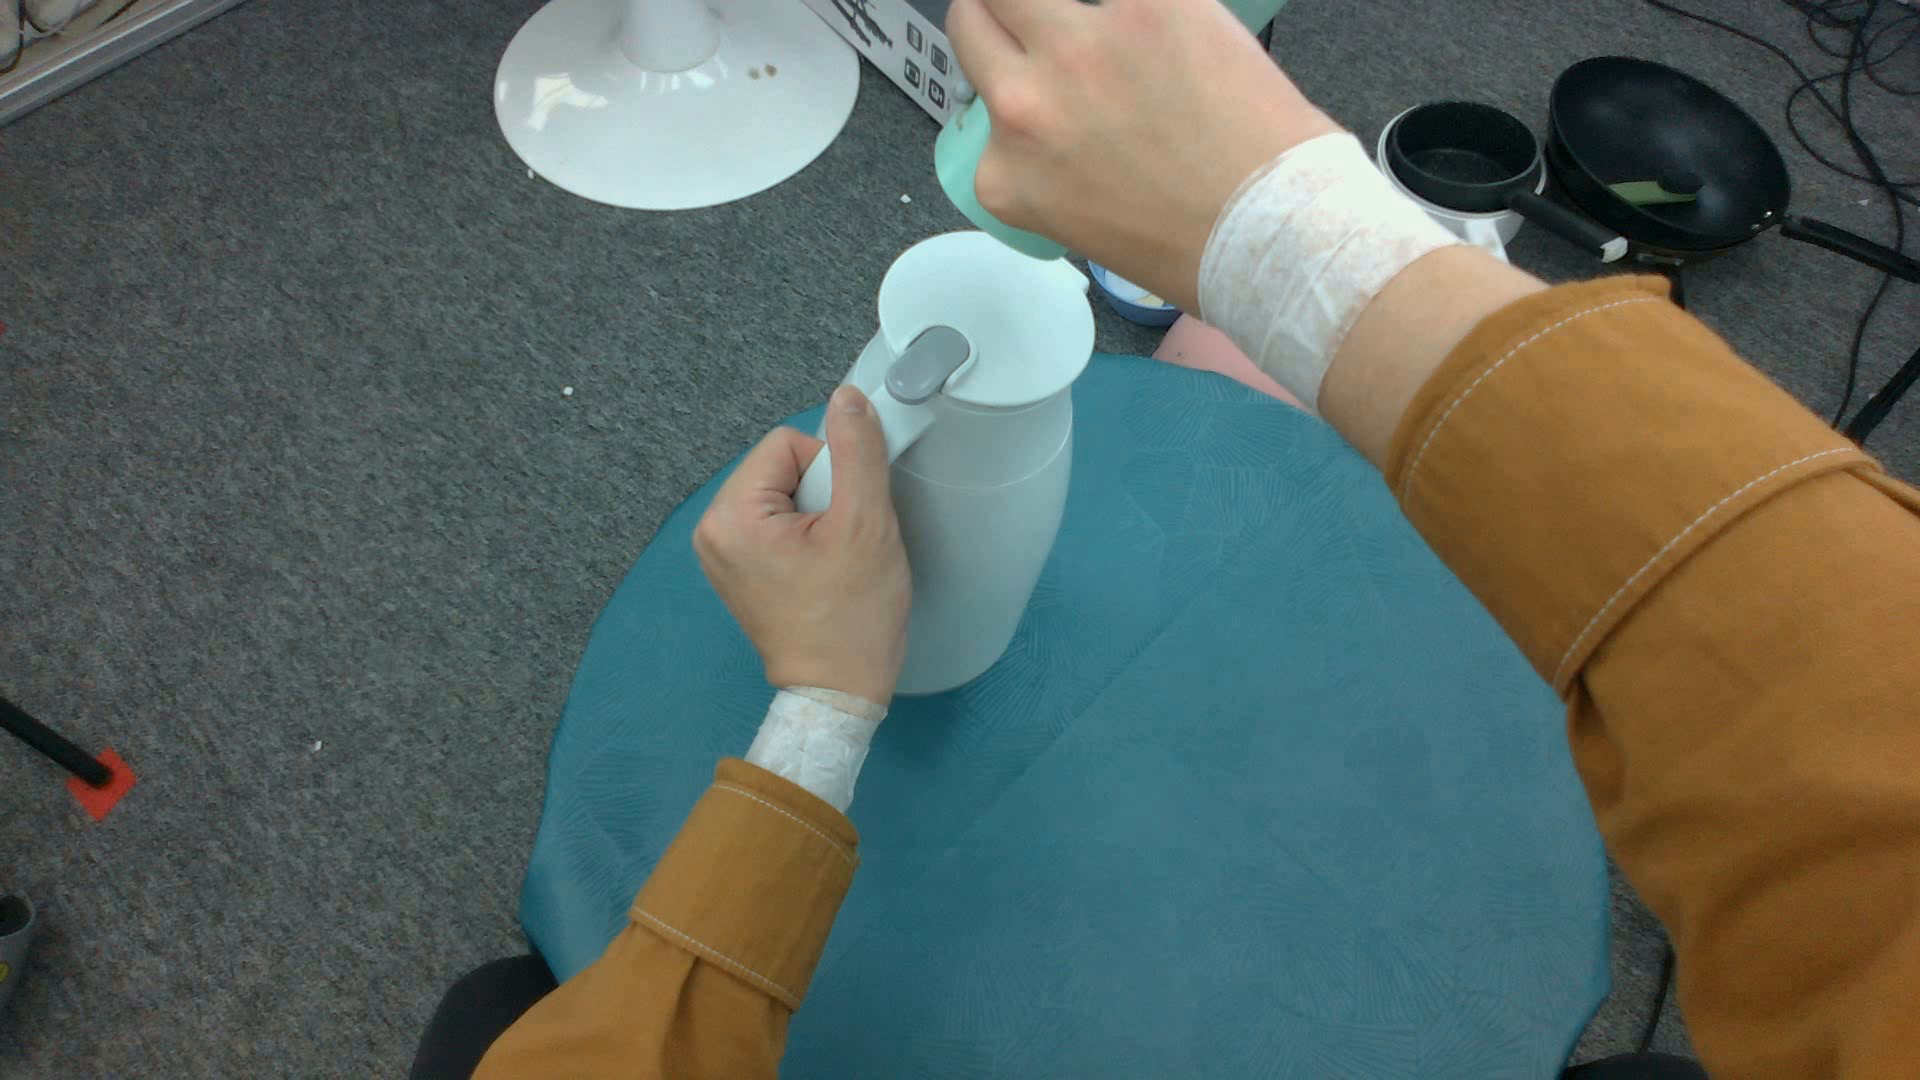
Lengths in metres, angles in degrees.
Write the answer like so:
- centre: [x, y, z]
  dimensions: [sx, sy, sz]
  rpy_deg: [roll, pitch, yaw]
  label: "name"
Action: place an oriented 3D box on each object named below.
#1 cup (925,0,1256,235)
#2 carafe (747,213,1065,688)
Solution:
- centre: [0.048, -0.172, 0.471]
  dimensions: [0.067, 0.131, 0.067]
  rpy_deg: [24, 44, -25]
  label: "cup"
- centre: [-0.032, -0.030, 0.656]
  dimensions: [0.132, 0.247, 0.168]
  rpy_deg: [42, 60, 15]
  label: "carafe"
